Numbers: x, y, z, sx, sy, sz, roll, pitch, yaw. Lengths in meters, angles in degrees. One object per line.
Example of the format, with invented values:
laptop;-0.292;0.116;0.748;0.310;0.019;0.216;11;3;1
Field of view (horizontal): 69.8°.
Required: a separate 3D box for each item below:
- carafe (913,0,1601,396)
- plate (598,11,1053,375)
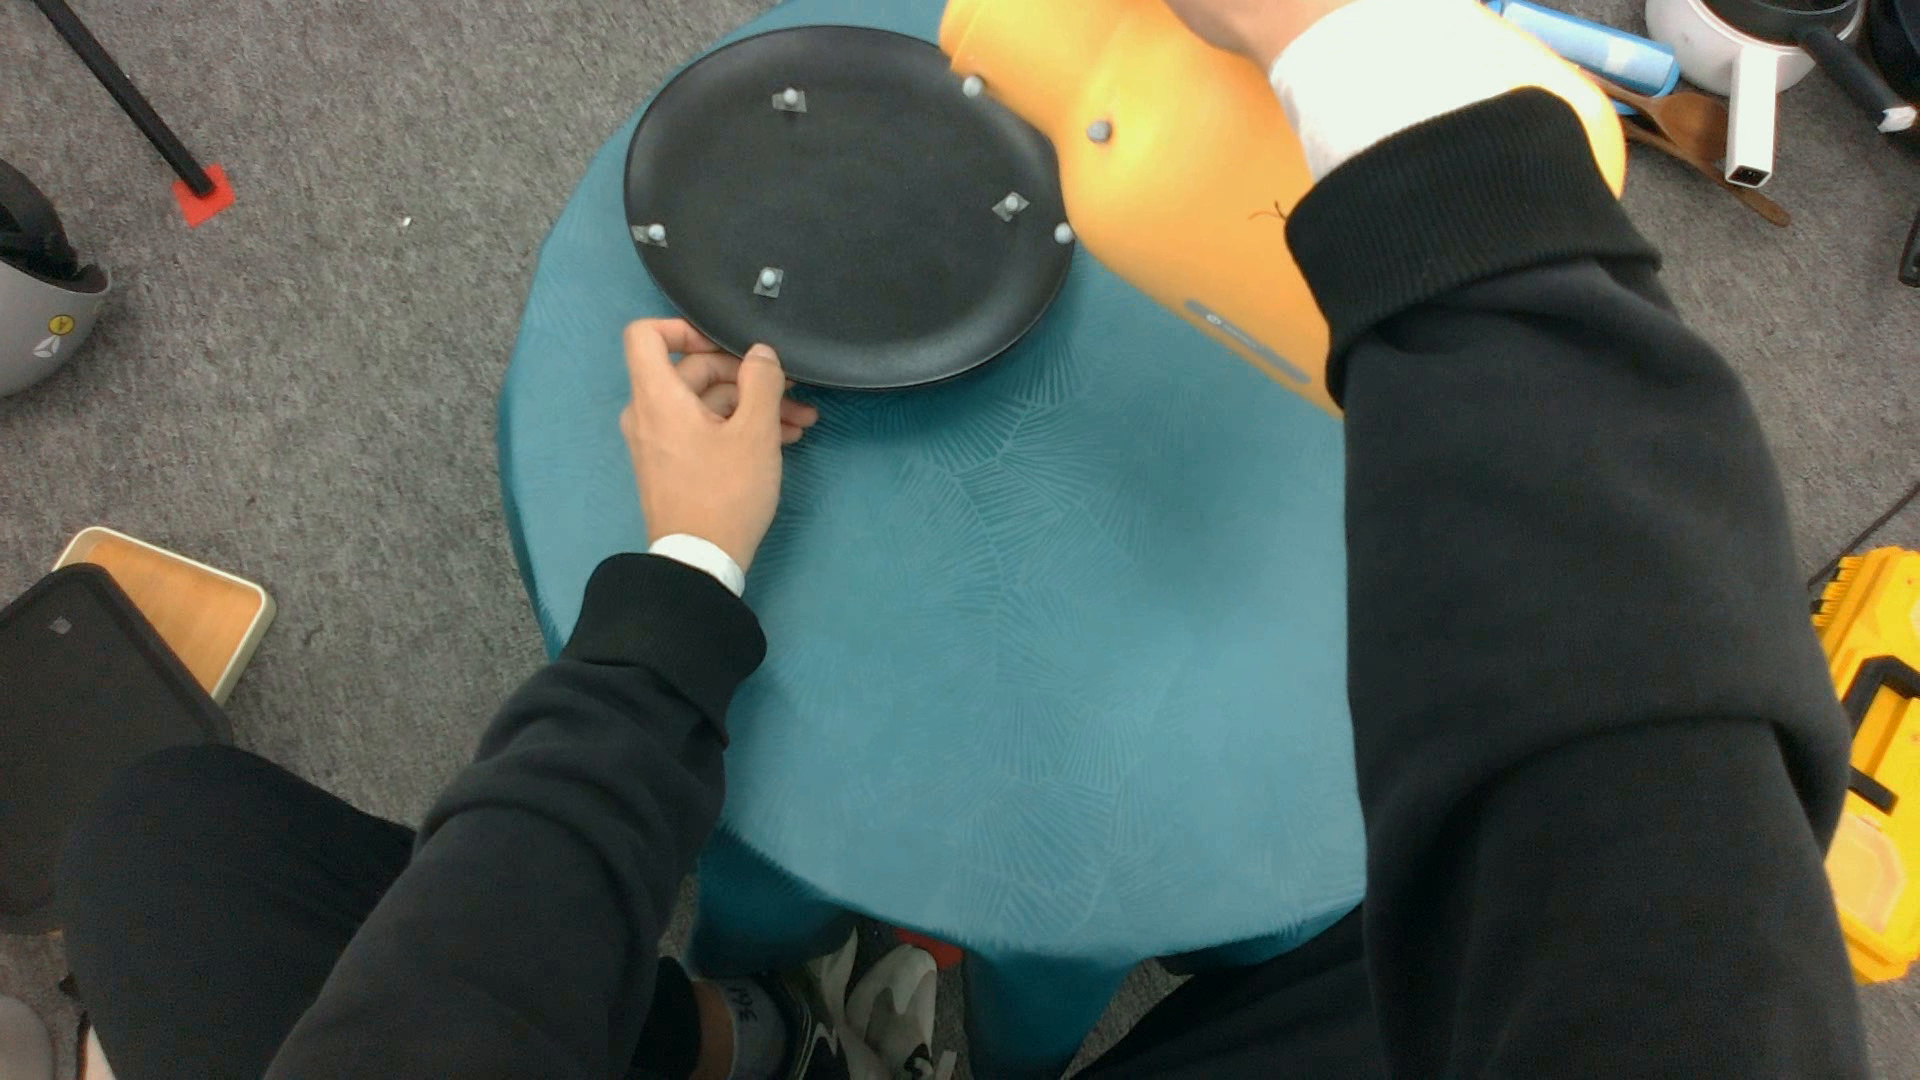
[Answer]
carafe;0.113;-0.180;0.536;0.260;0.202;0.163;28;81;-7
plate;-0.071;-0.189;0.746;0.244;0.023;0.245;4;64;-9
